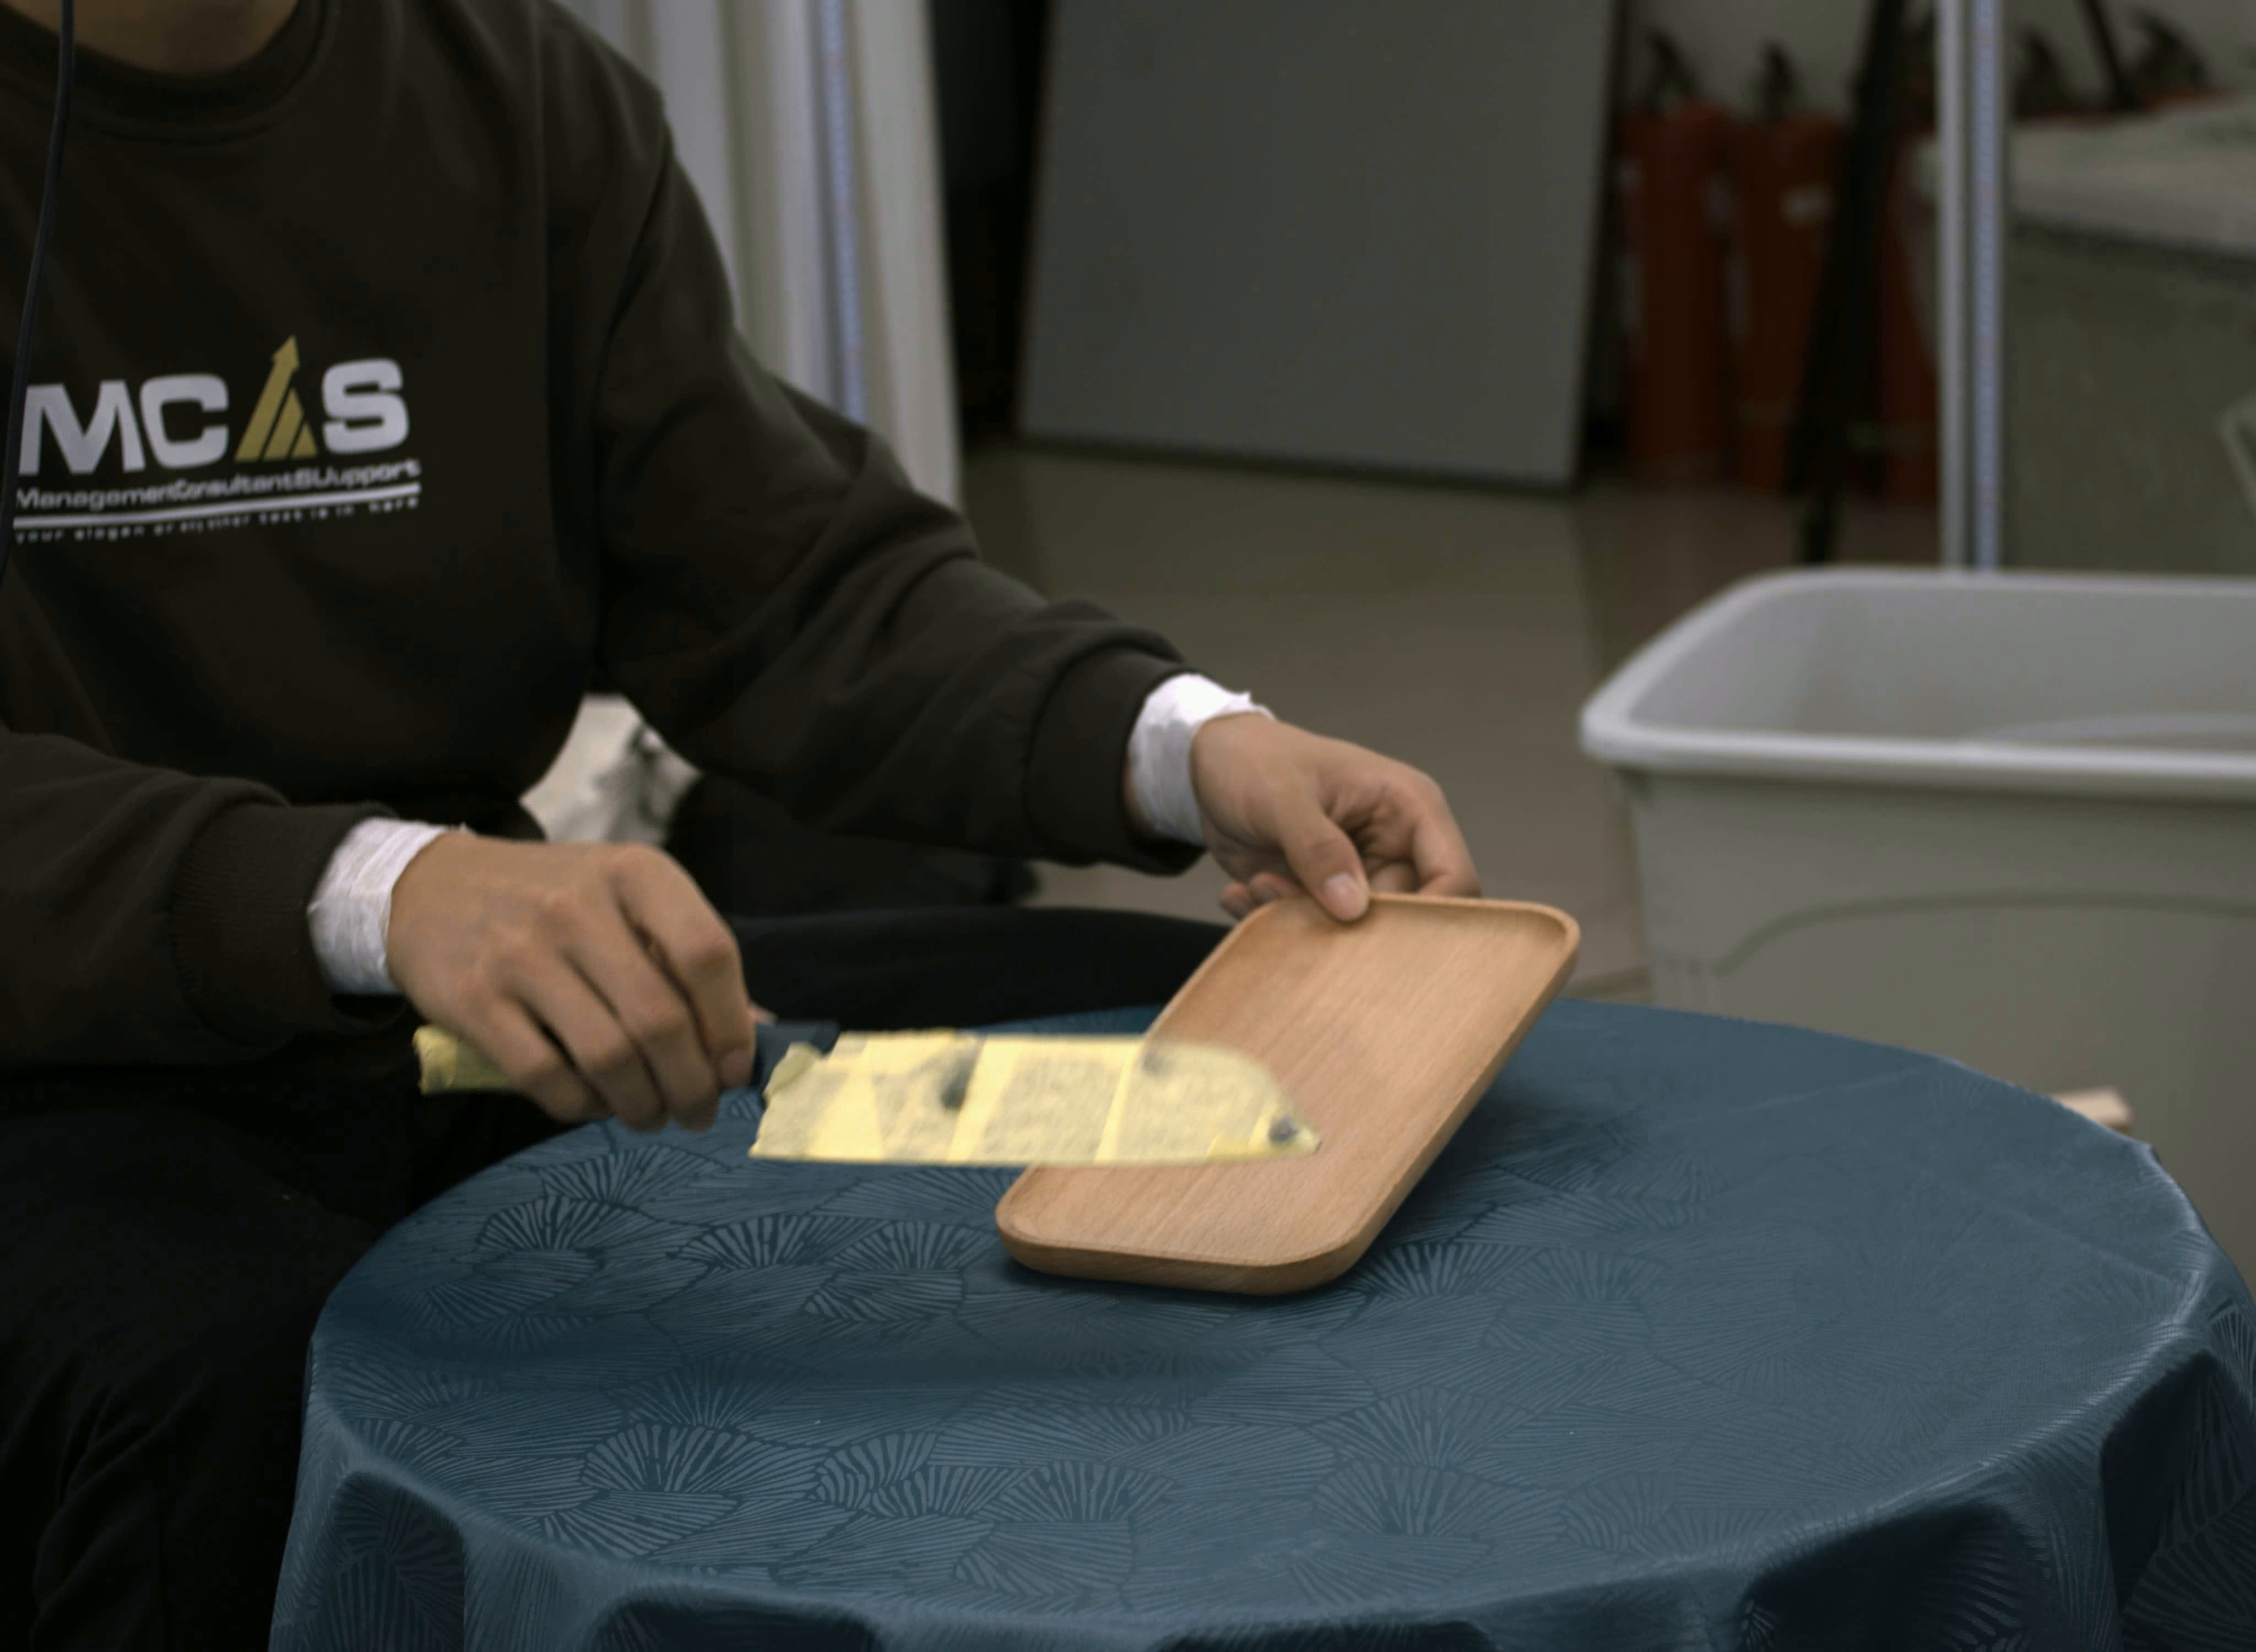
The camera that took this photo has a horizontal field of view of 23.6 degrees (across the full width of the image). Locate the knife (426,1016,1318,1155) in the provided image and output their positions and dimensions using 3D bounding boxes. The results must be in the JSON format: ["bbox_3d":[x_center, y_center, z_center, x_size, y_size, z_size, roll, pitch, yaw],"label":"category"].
[{"bbox_3d":[-0.081,0.079,1.646,0.288,0.027,0.081,-1,27,15],"label":"knife"}]

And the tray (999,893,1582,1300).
[{"bbox_3d":[0.058,0.086,1.766,0.131,0.023,0.248,0,27,27],"label":"tray"}]
